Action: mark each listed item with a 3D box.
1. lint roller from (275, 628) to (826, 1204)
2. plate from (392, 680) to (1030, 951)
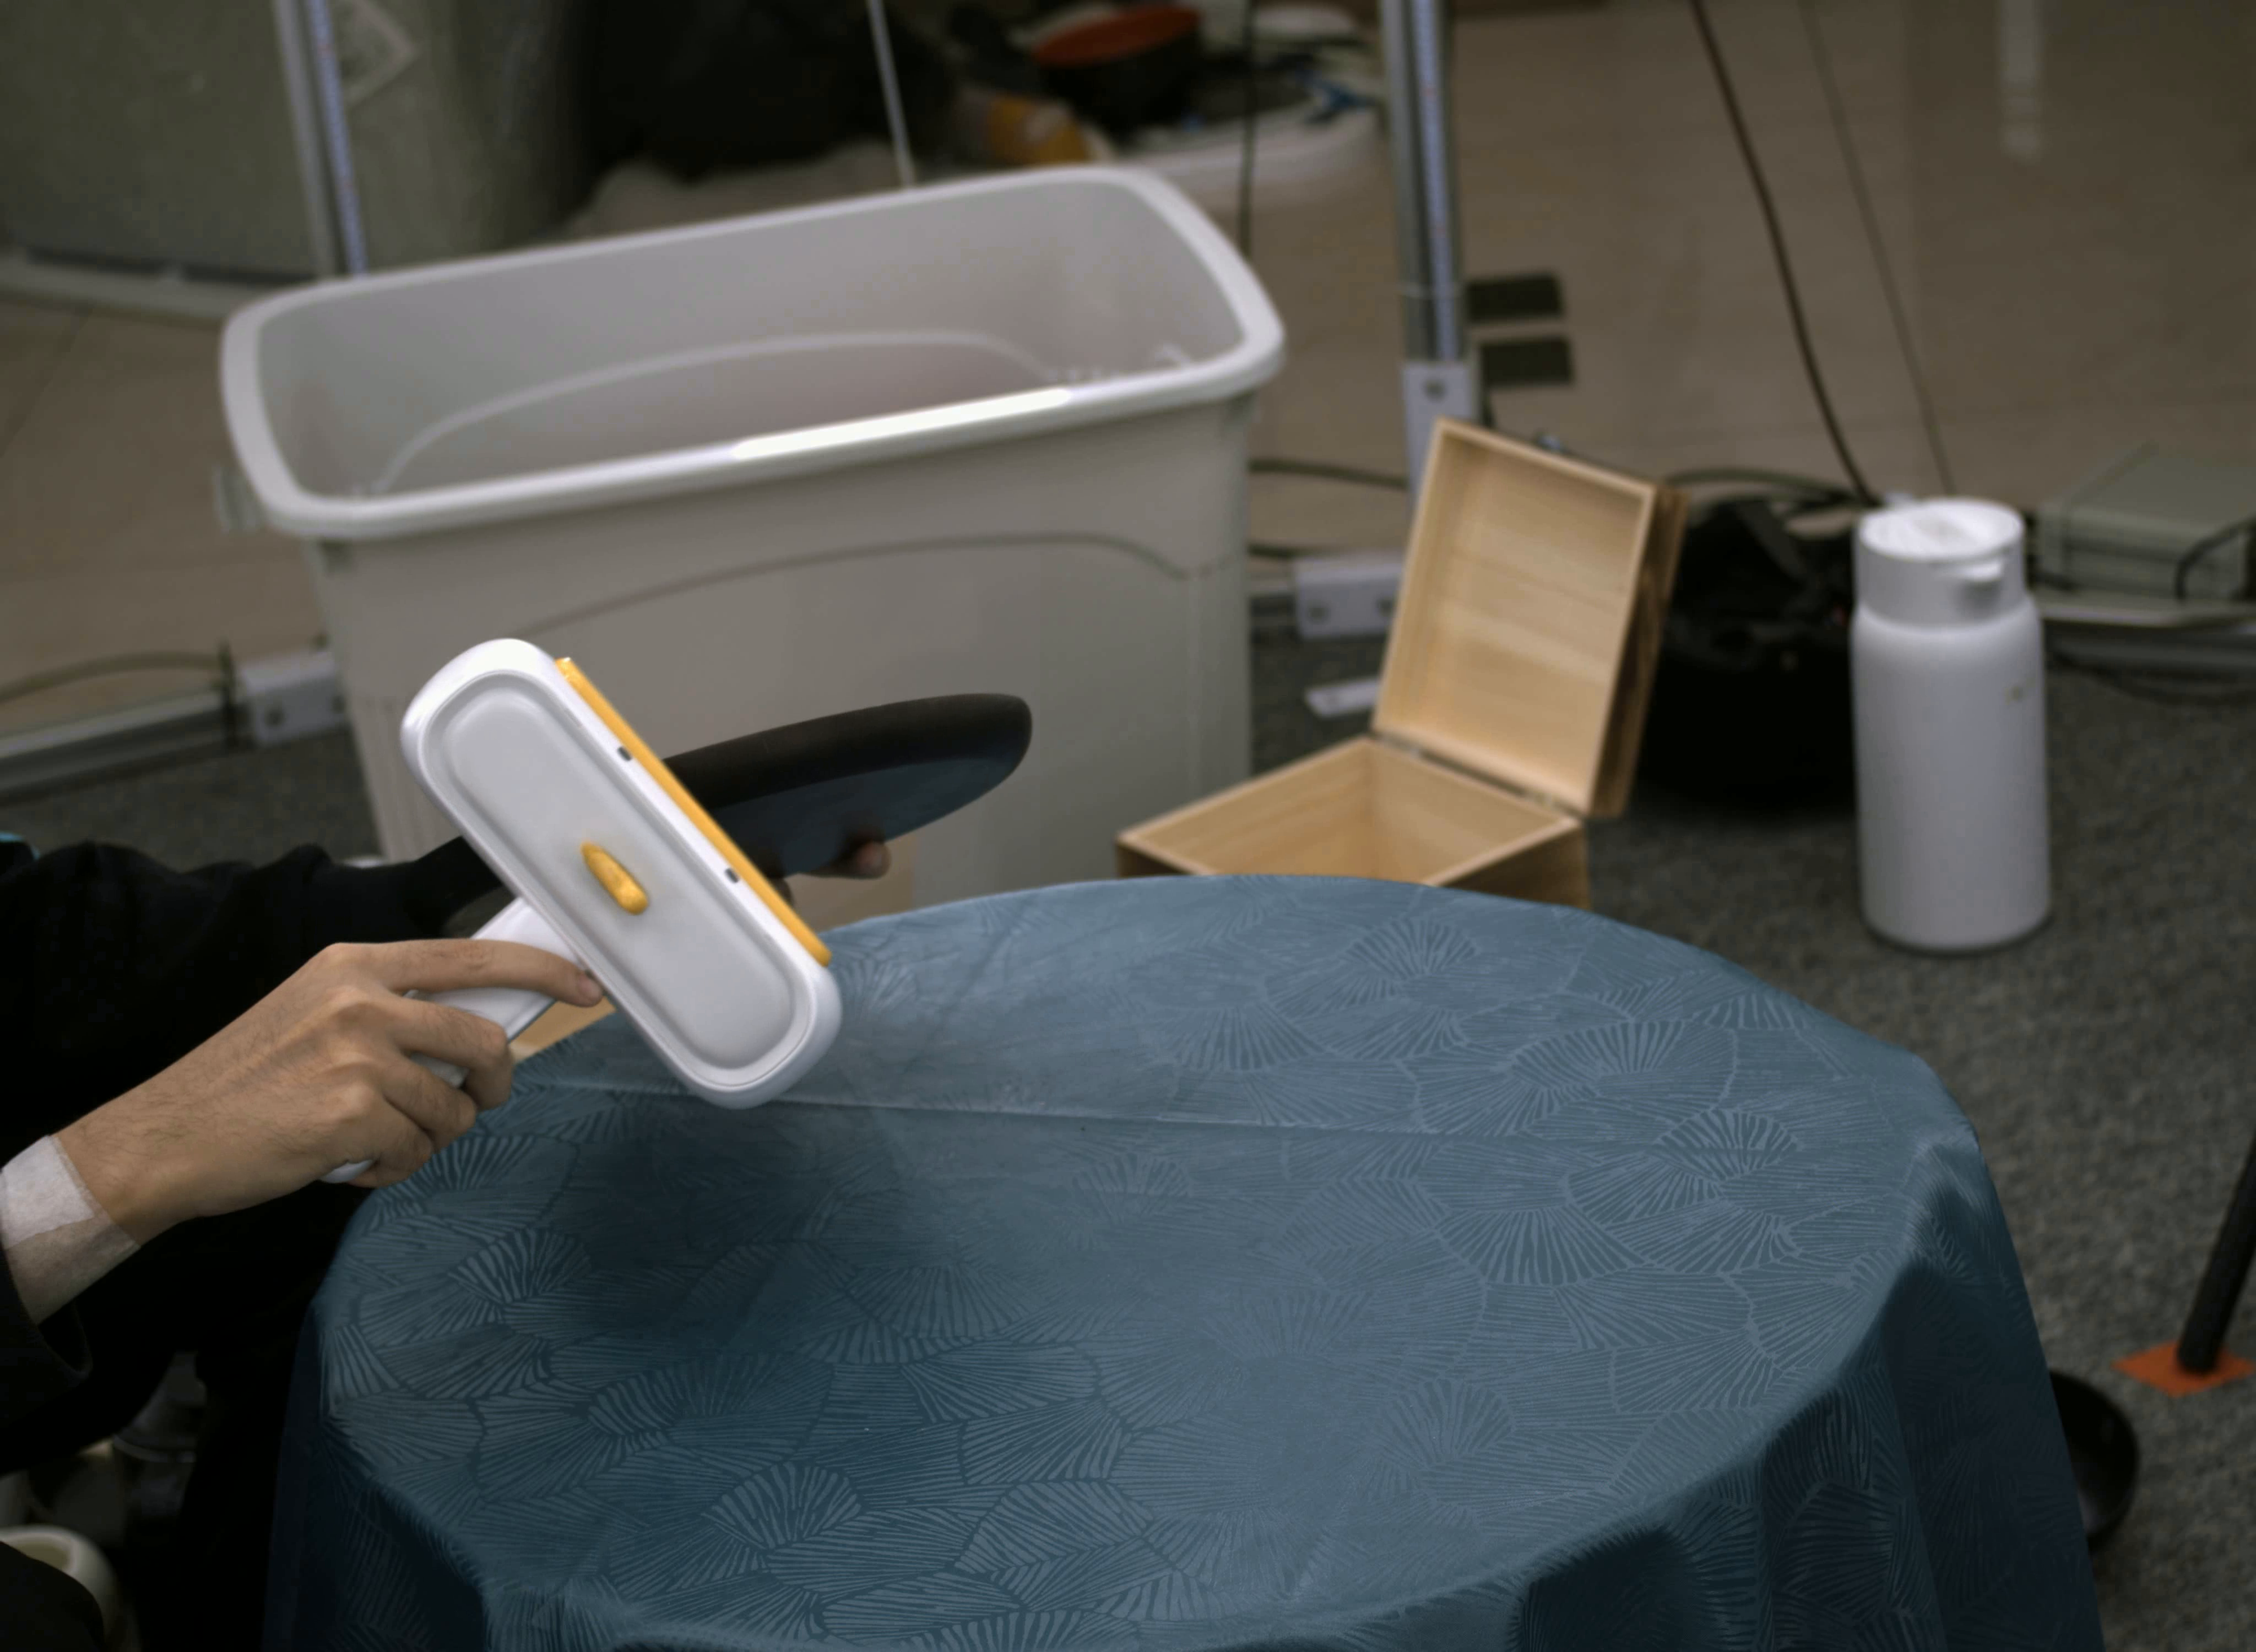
[{"bbox_3d":[-0.226,0.054,1.993,0.192,0.194,0.074,-46,10,-7],"label":"lint roller"},{"bbox_3d":[-0.156,-0.001,2.150,0.254,0.029,0.256,-18,-8,-2],"label":"plate"}]
